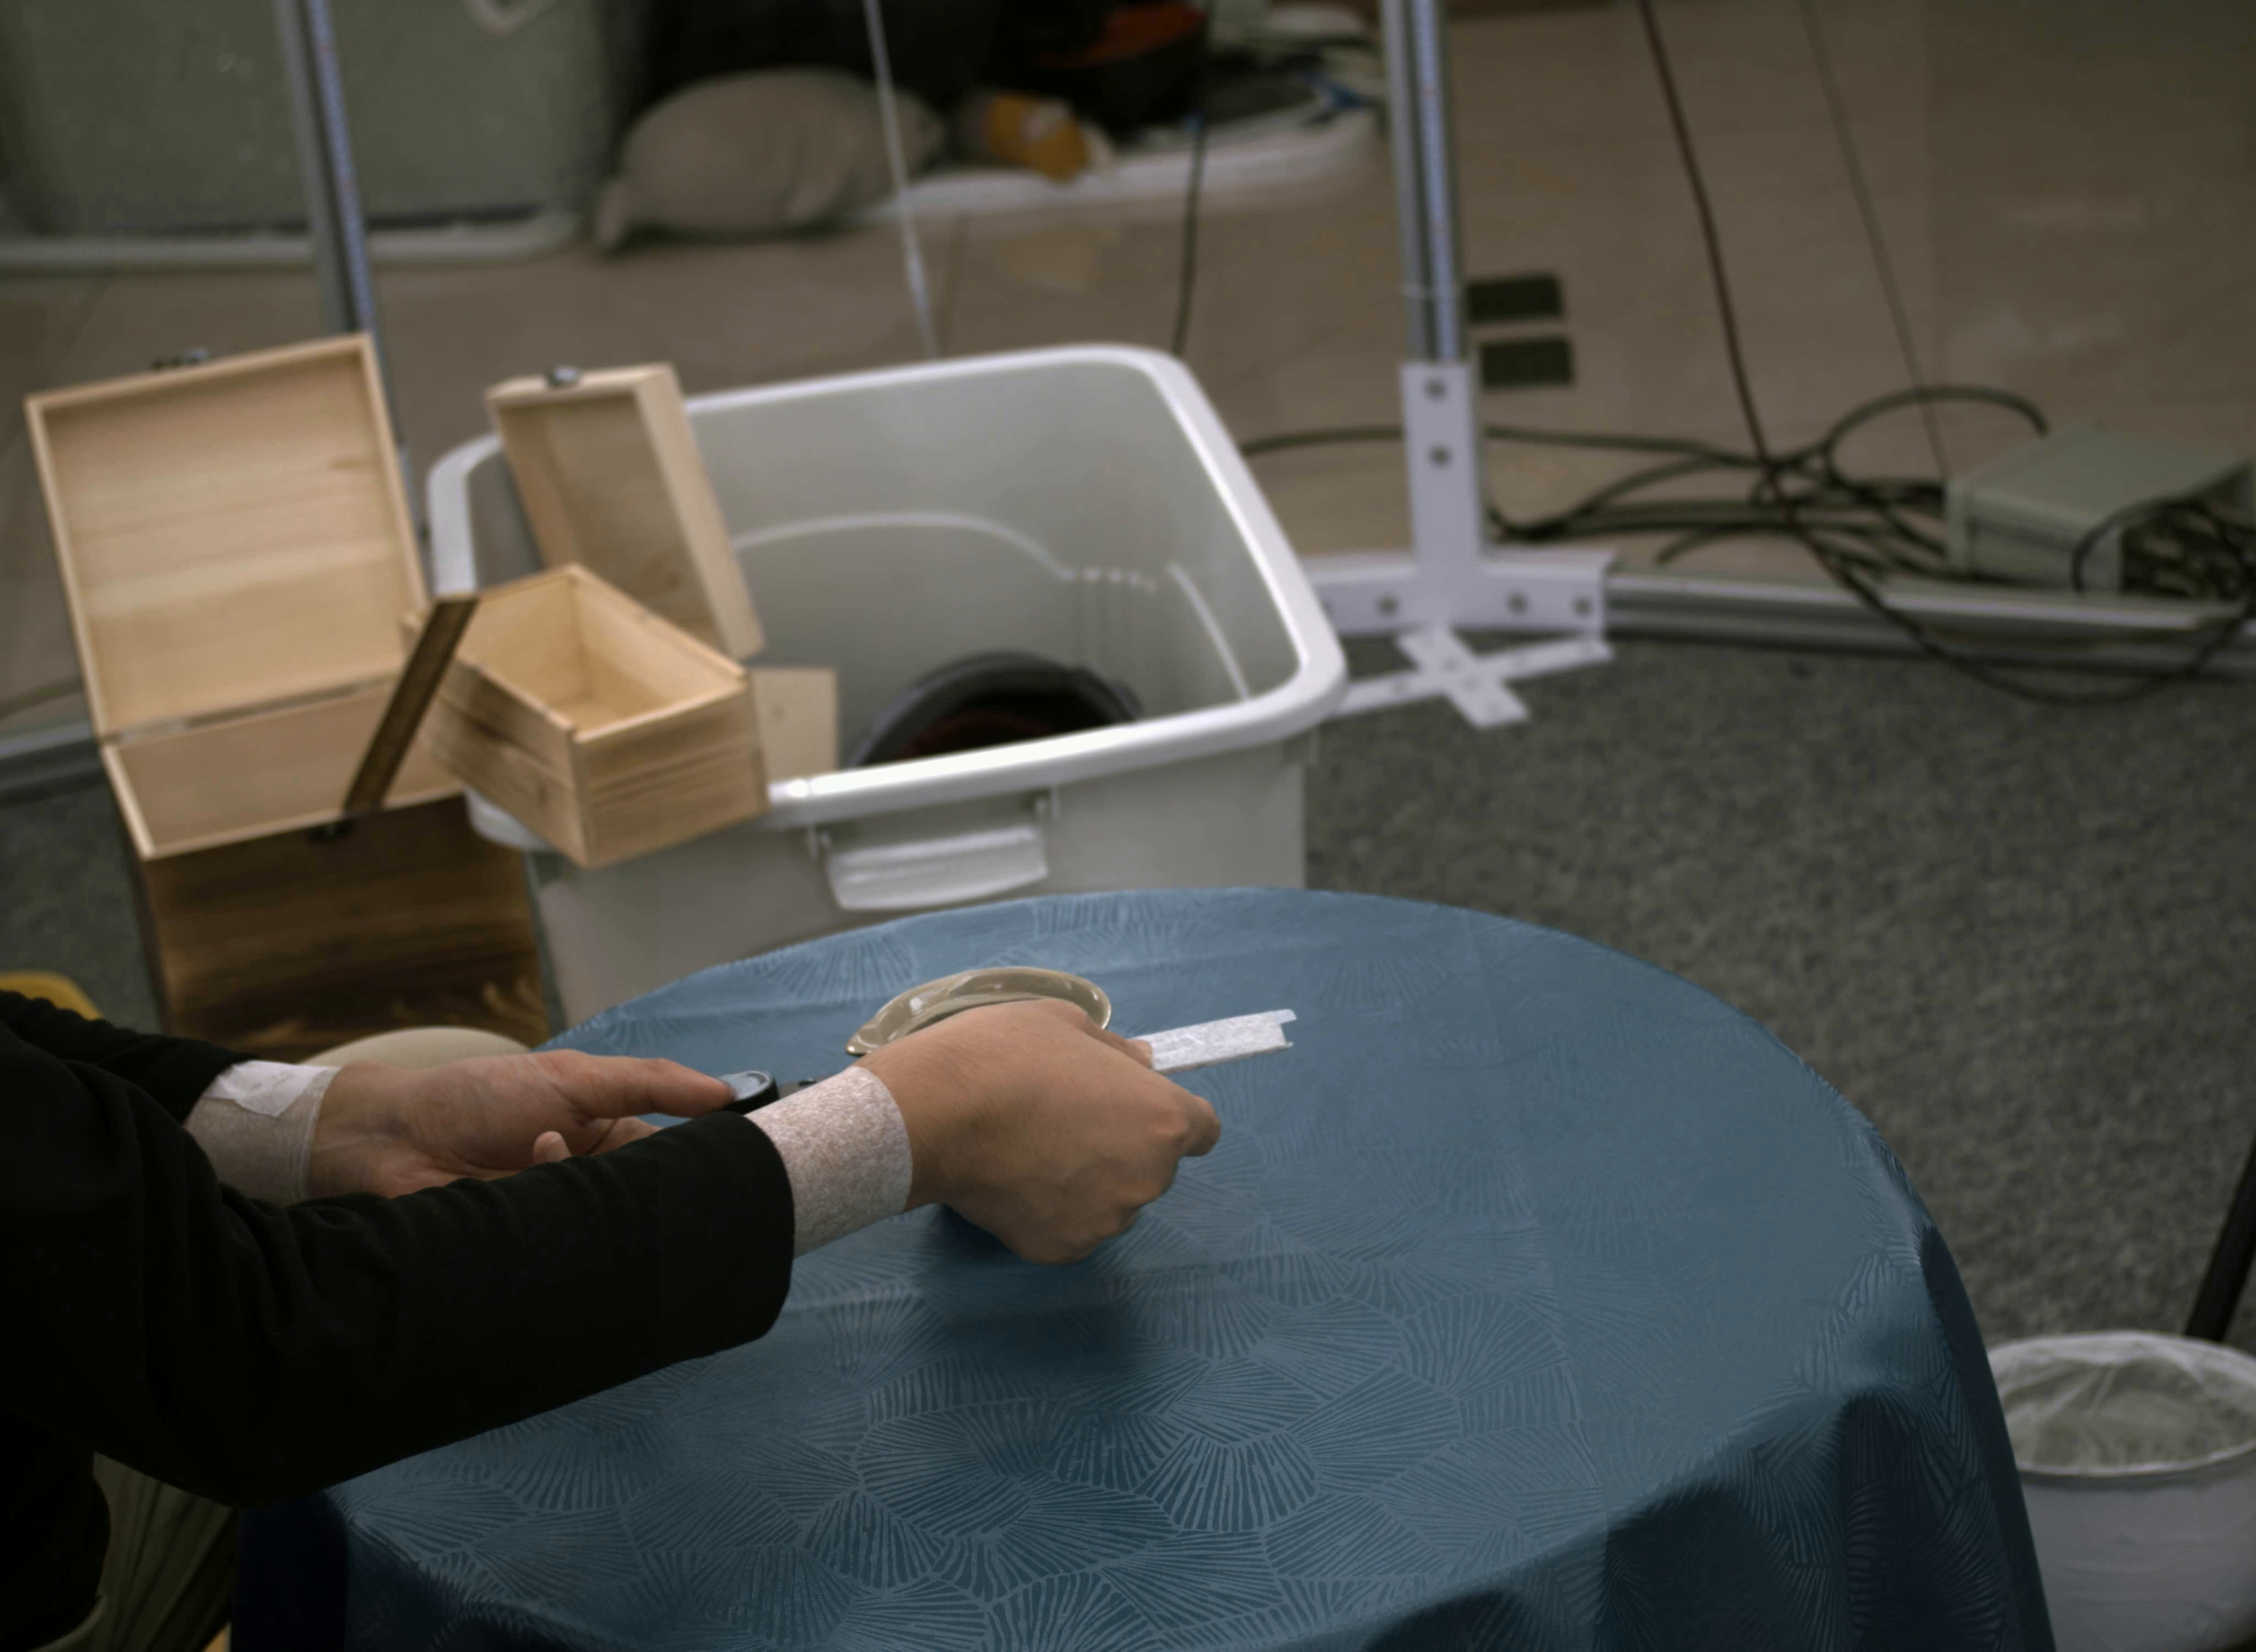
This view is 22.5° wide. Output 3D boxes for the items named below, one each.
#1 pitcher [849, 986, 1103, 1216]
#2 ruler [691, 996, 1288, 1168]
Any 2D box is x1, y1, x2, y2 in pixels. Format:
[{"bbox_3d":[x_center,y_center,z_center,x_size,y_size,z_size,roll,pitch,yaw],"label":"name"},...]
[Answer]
[{"bbox_3d":[-0.054,0.105,2.146,0.096,0.072,0.082,-7,26,-2],"label":"pitcher"},{"bbox_3d":[-0.051,0.086,2.059,0.218,0.024,0.038,-12,28,-1],"label":"ruler"}]
